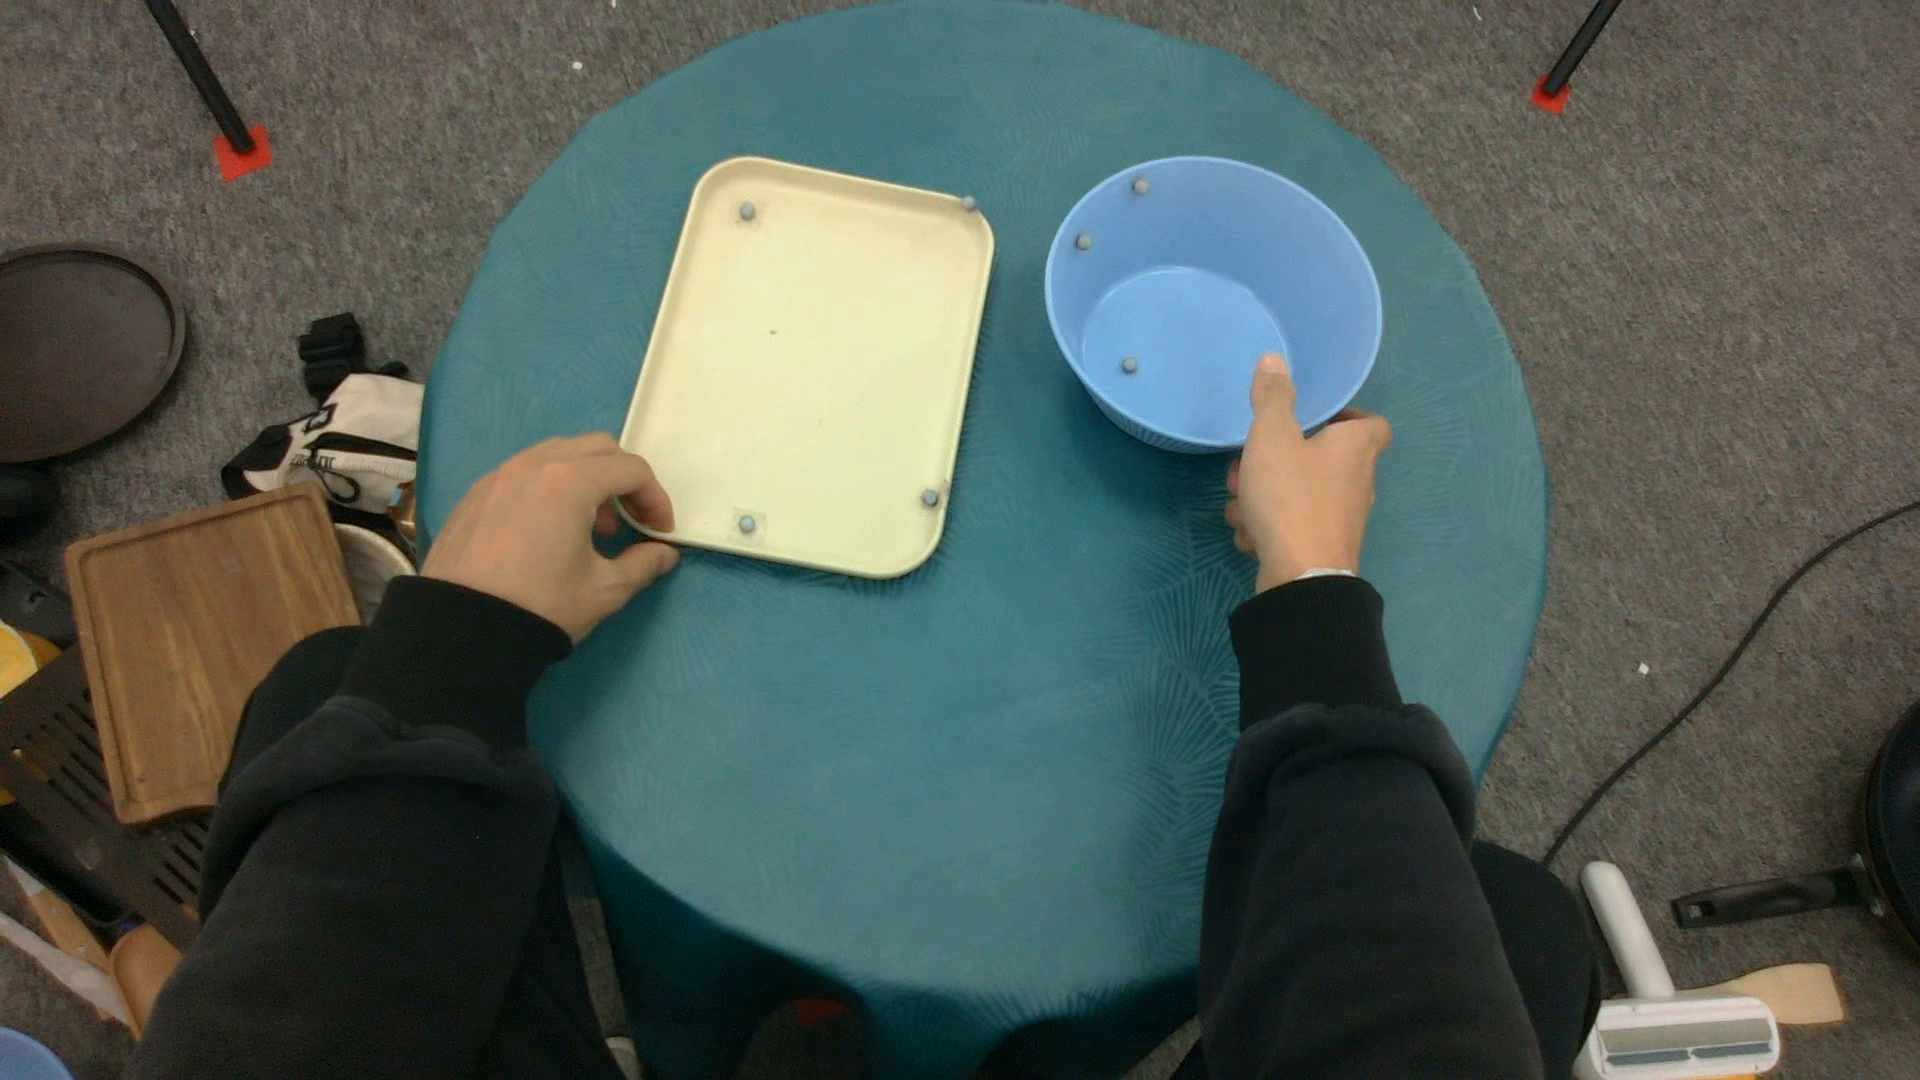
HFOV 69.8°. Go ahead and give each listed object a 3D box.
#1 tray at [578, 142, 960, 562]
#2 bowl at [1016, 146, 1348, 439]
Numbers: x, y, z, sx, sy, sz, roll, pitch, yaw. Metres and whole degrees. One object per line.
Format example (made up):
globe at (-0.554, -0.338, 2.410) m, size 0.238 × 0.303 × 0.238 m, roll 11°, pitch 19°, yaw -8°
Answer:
tray at (-0.096, -0.104, 0.734) m, size 0.171 × 0.017 × 0.240 m, roll 10°, pitch 65°, yaw -2°
bowl at (0.112, -0.121, 0.739) m, size 0.176 × 0.070 × 0.176 m, roll 3°, pitch 65°, yaw -6°
